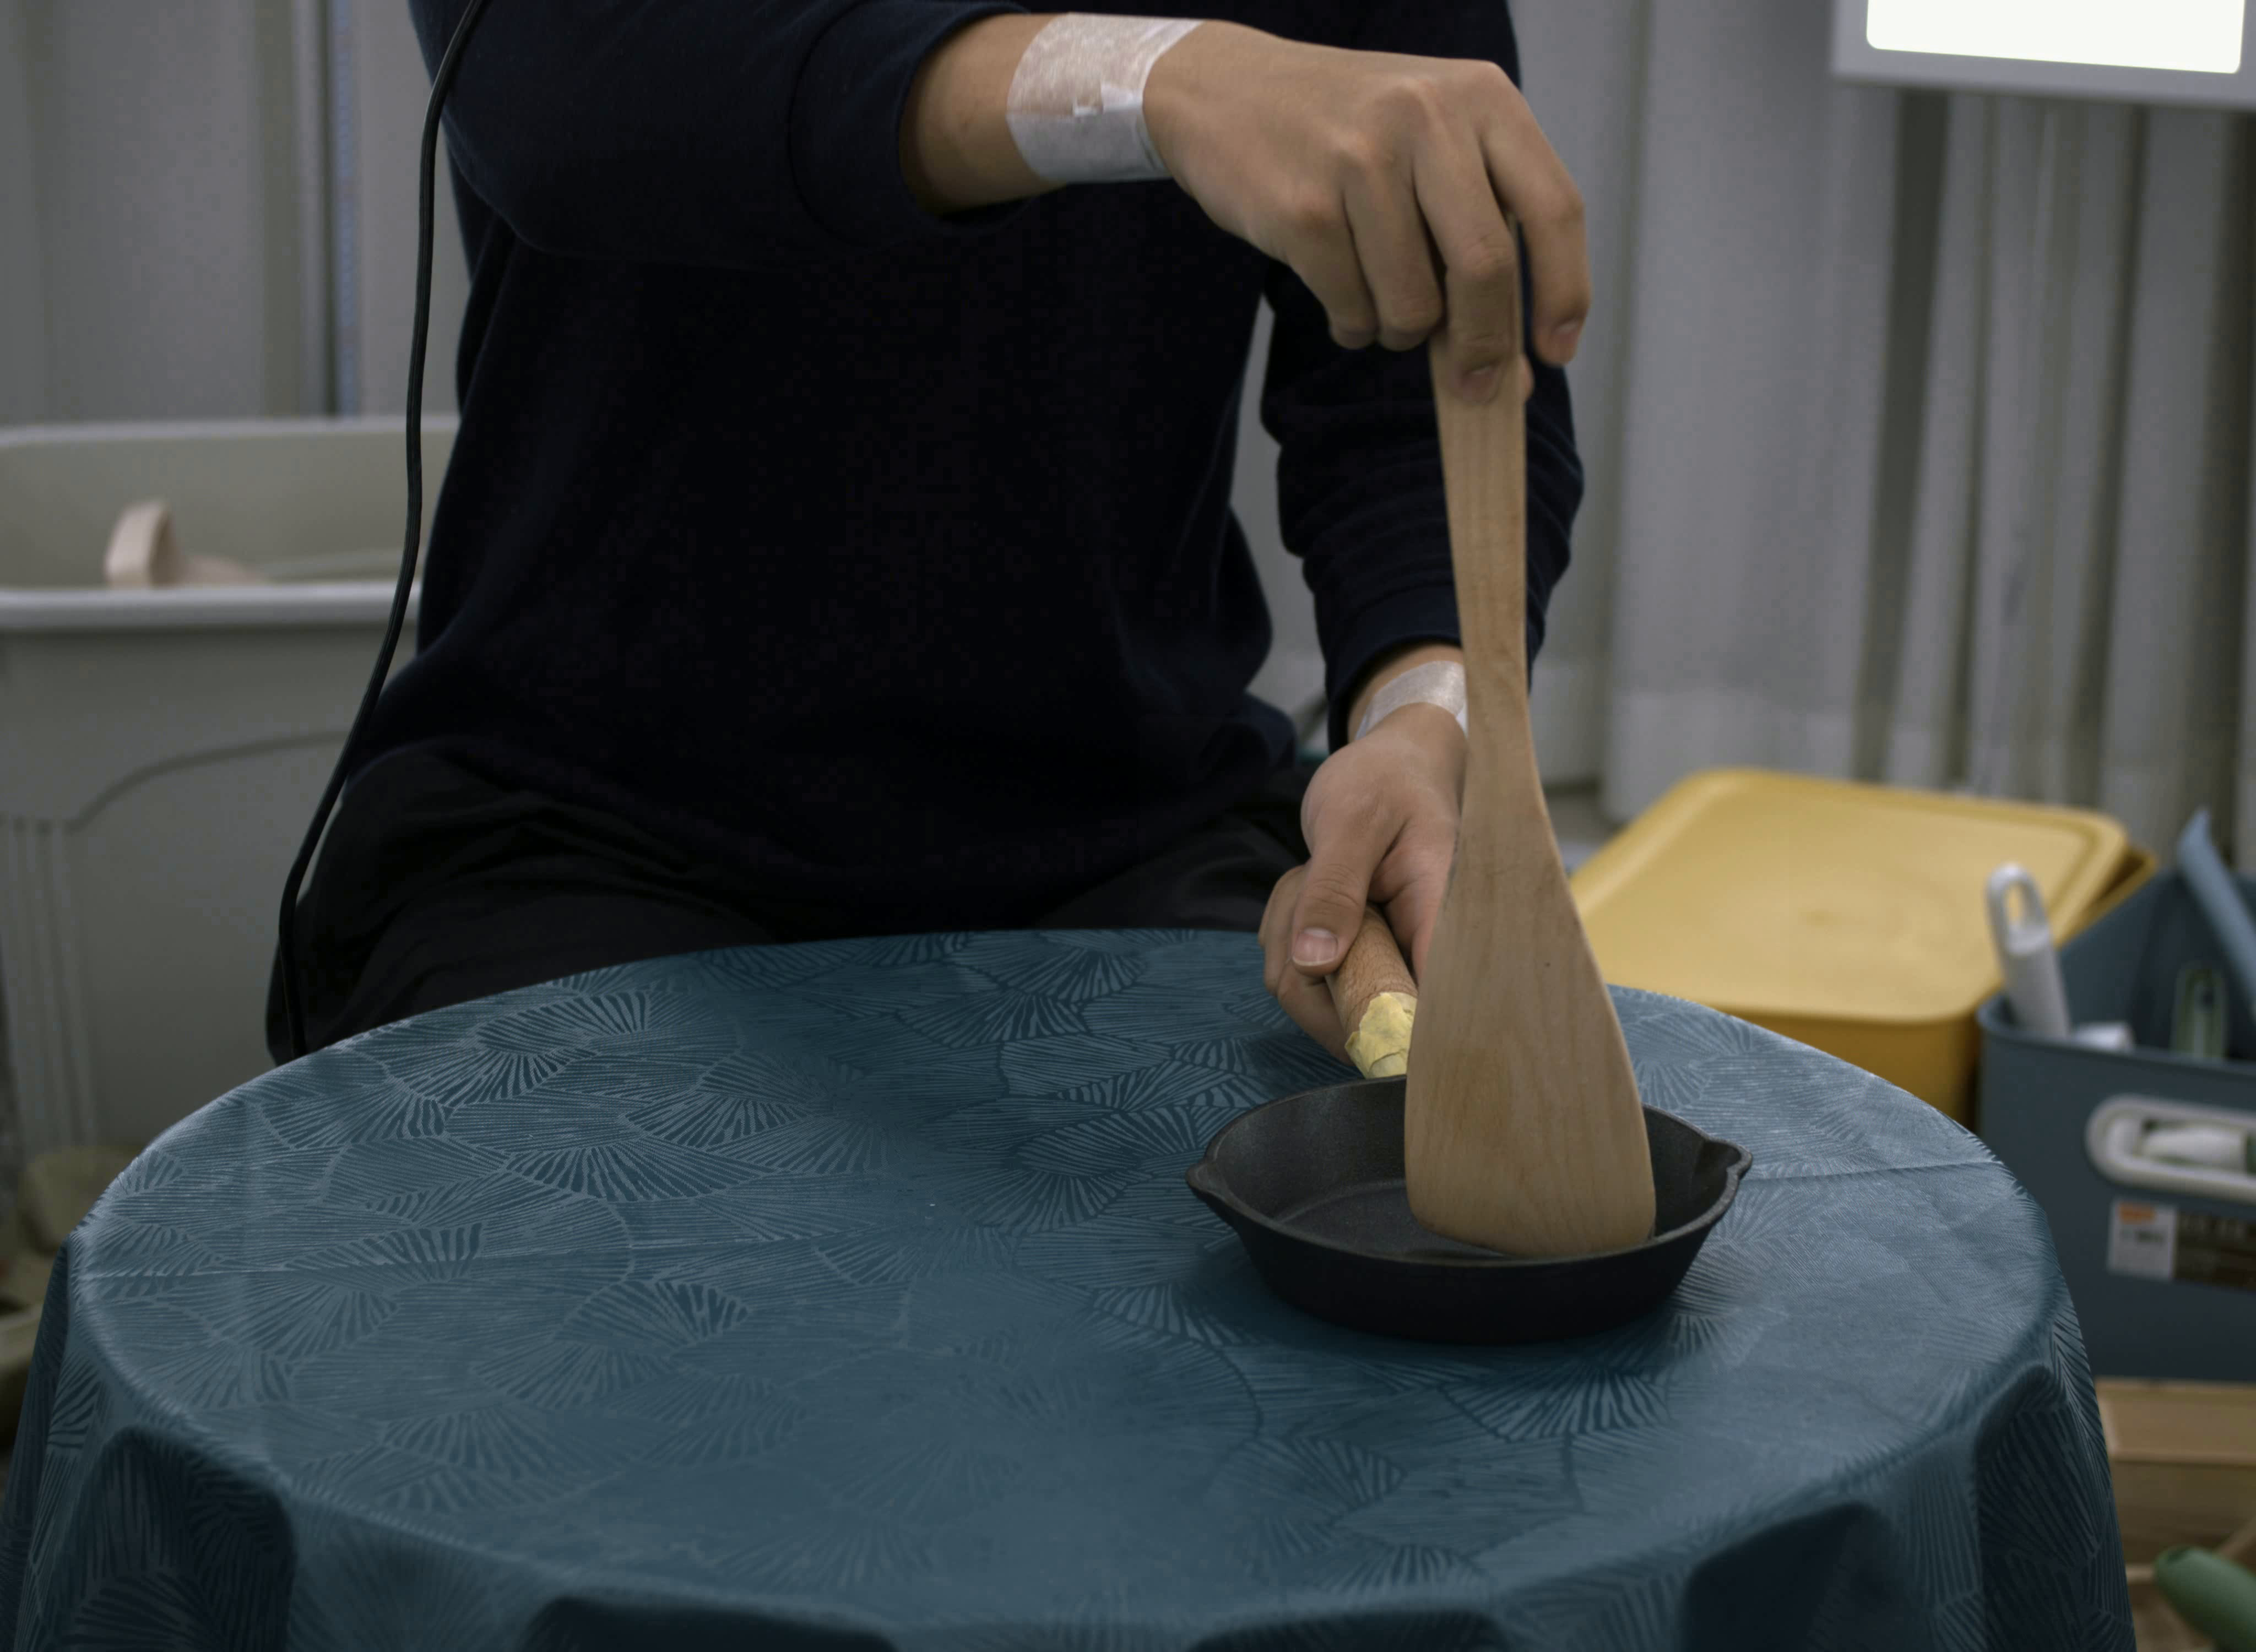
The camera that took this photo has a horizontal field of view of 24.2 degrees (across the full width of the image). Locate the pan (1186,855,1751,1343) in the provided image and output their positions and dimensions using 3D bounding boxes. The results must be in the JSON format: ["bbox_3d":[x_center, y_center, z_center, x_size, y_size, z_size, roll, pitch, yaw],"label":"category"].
[{"bbox_3d":[0.091,0.081,1.629,0.169,0.050,0.321,-1,19,-7],"label":"pan"}]

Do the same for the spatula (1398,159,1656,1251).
[{"bbox_3d":[0.107,-0.028,1.526,0.079,0.329,0.016,0,9,25],"label":"spatula"}]
